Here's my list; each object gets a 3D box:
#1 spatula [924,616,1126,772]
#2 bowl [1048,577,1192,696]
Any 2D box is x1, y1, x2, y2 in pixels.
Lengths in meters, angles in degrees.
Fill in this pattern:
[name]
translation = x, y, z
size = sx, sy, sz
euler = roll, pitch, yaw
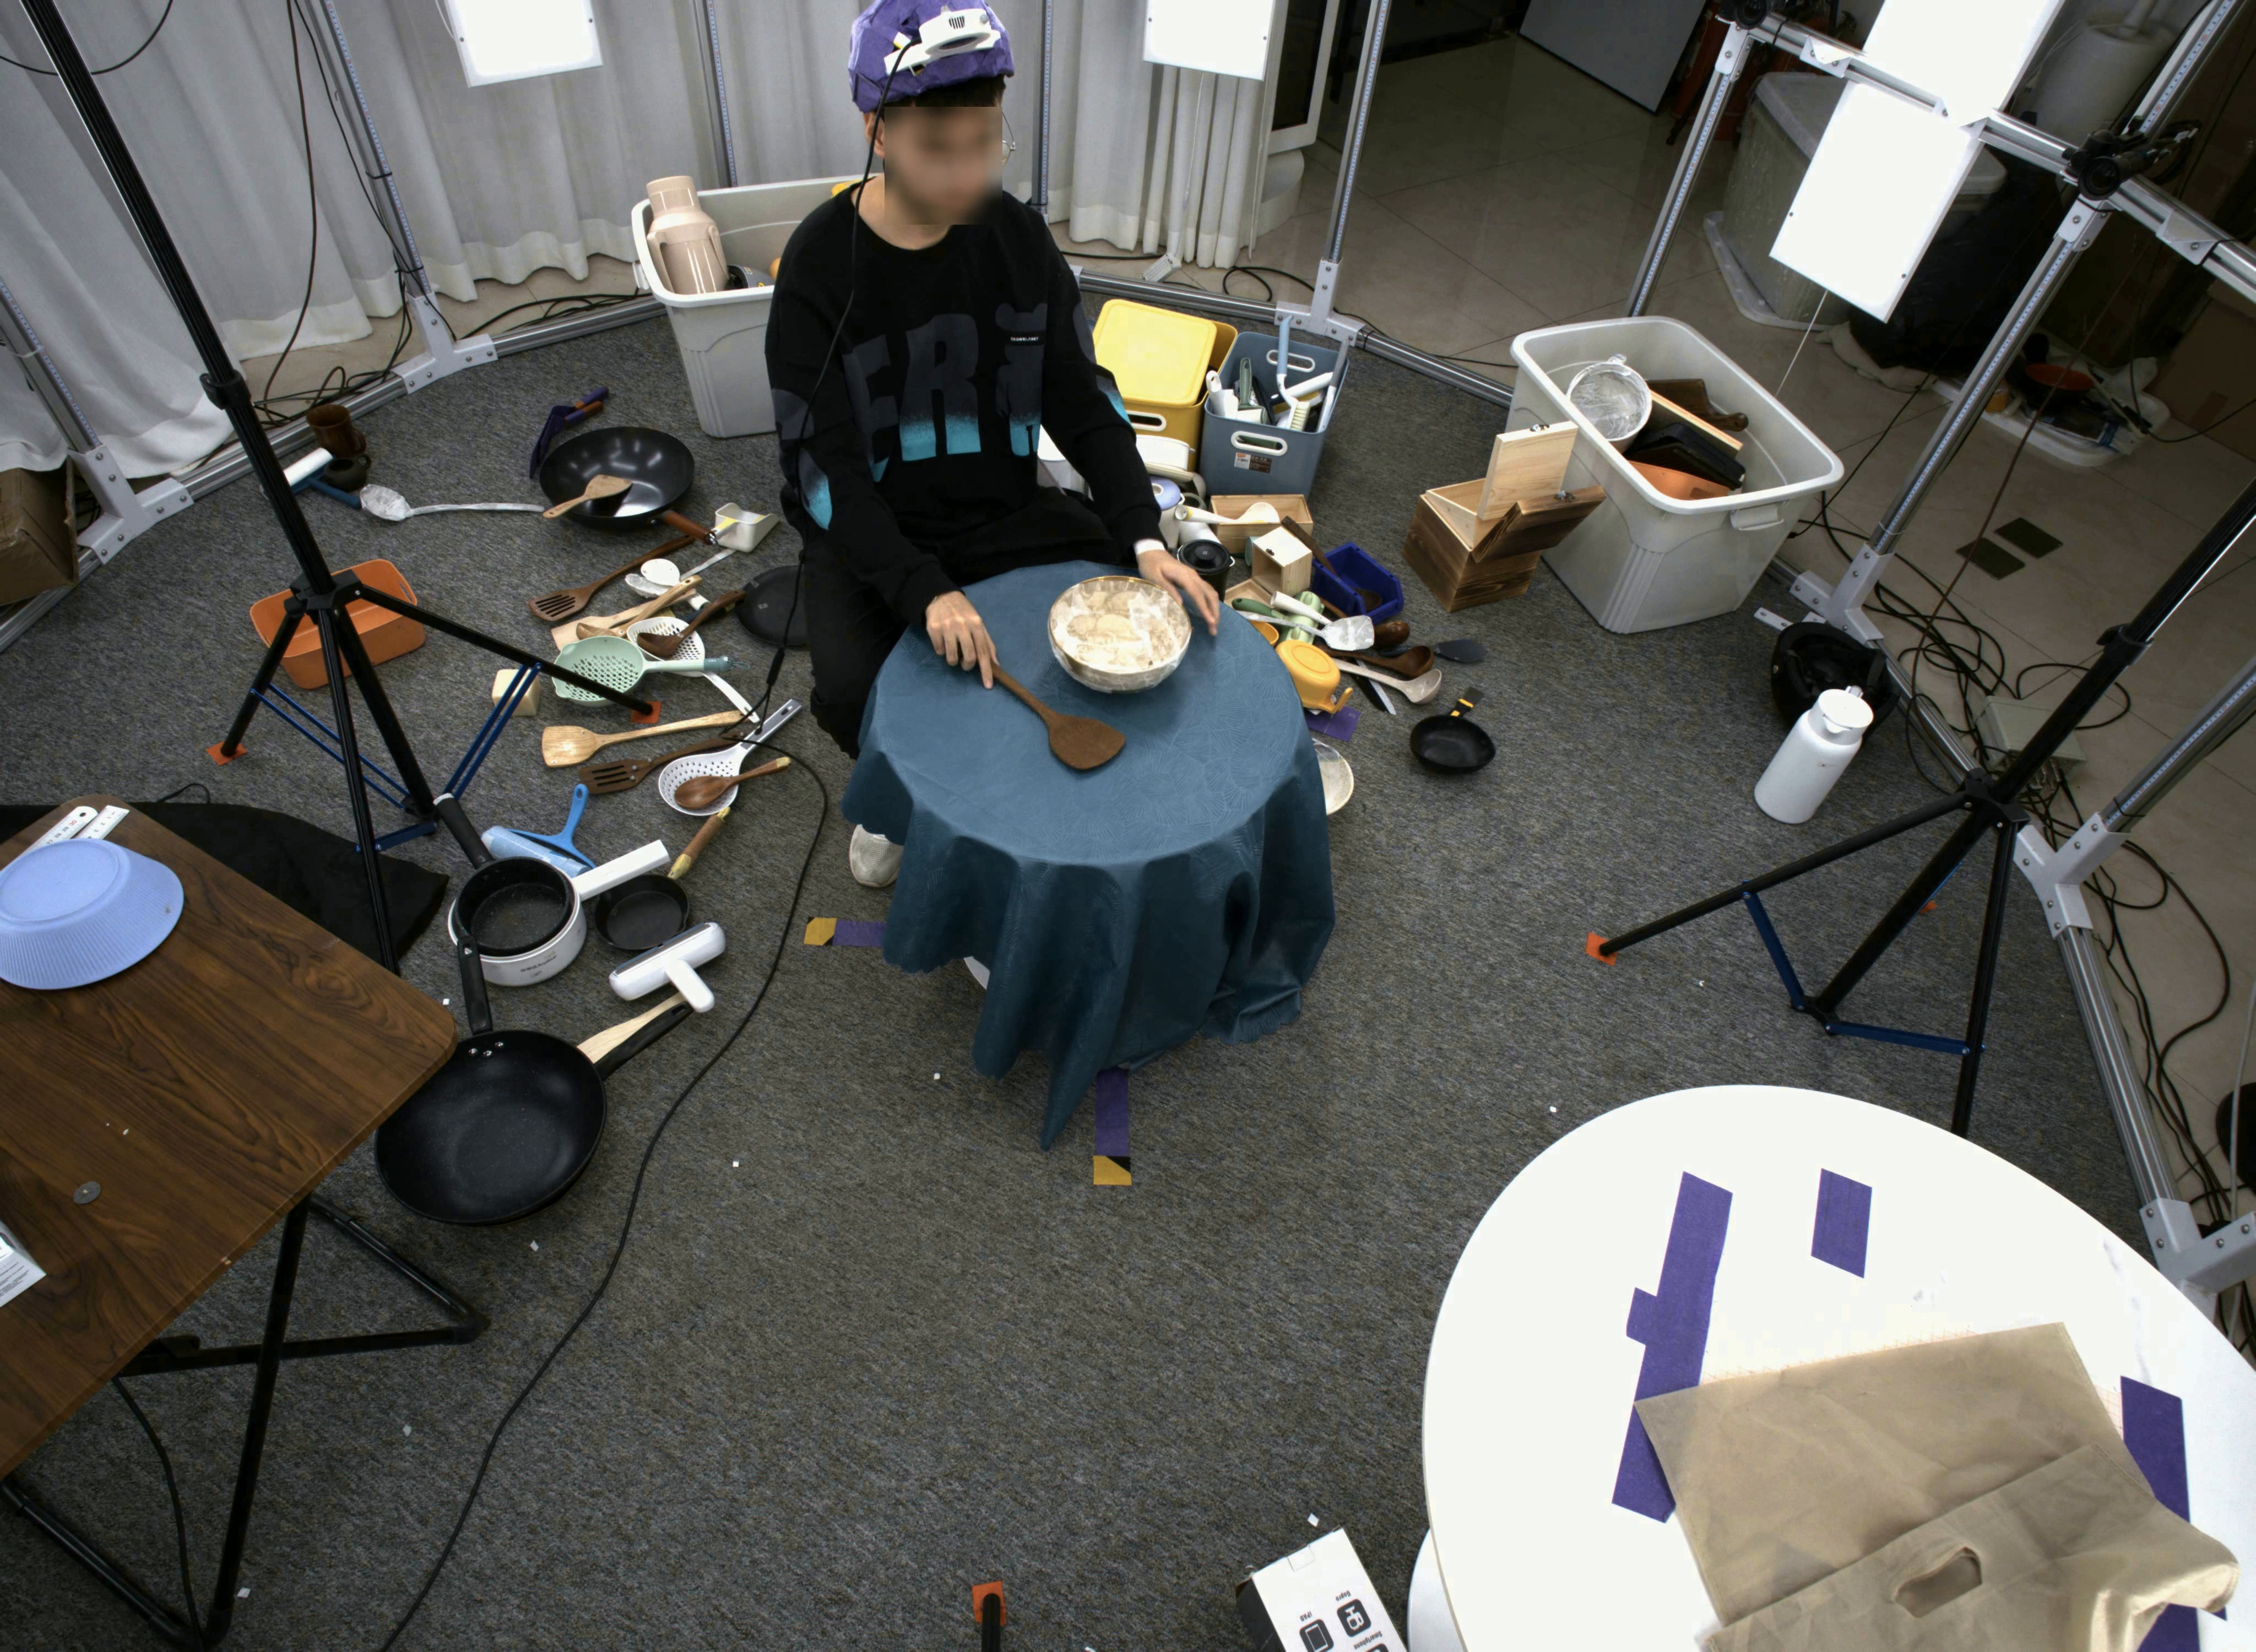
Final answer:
[spatula]
translation = -0.162, -0.199, 1.832
size = 0.097, 0.015, 0.391
euler = -35, 61, -30
[bowl]
translation = -0.011, -0.259, 1.849
size = 0.214, 0.092, 0.220
euler = 1, 49, -1
